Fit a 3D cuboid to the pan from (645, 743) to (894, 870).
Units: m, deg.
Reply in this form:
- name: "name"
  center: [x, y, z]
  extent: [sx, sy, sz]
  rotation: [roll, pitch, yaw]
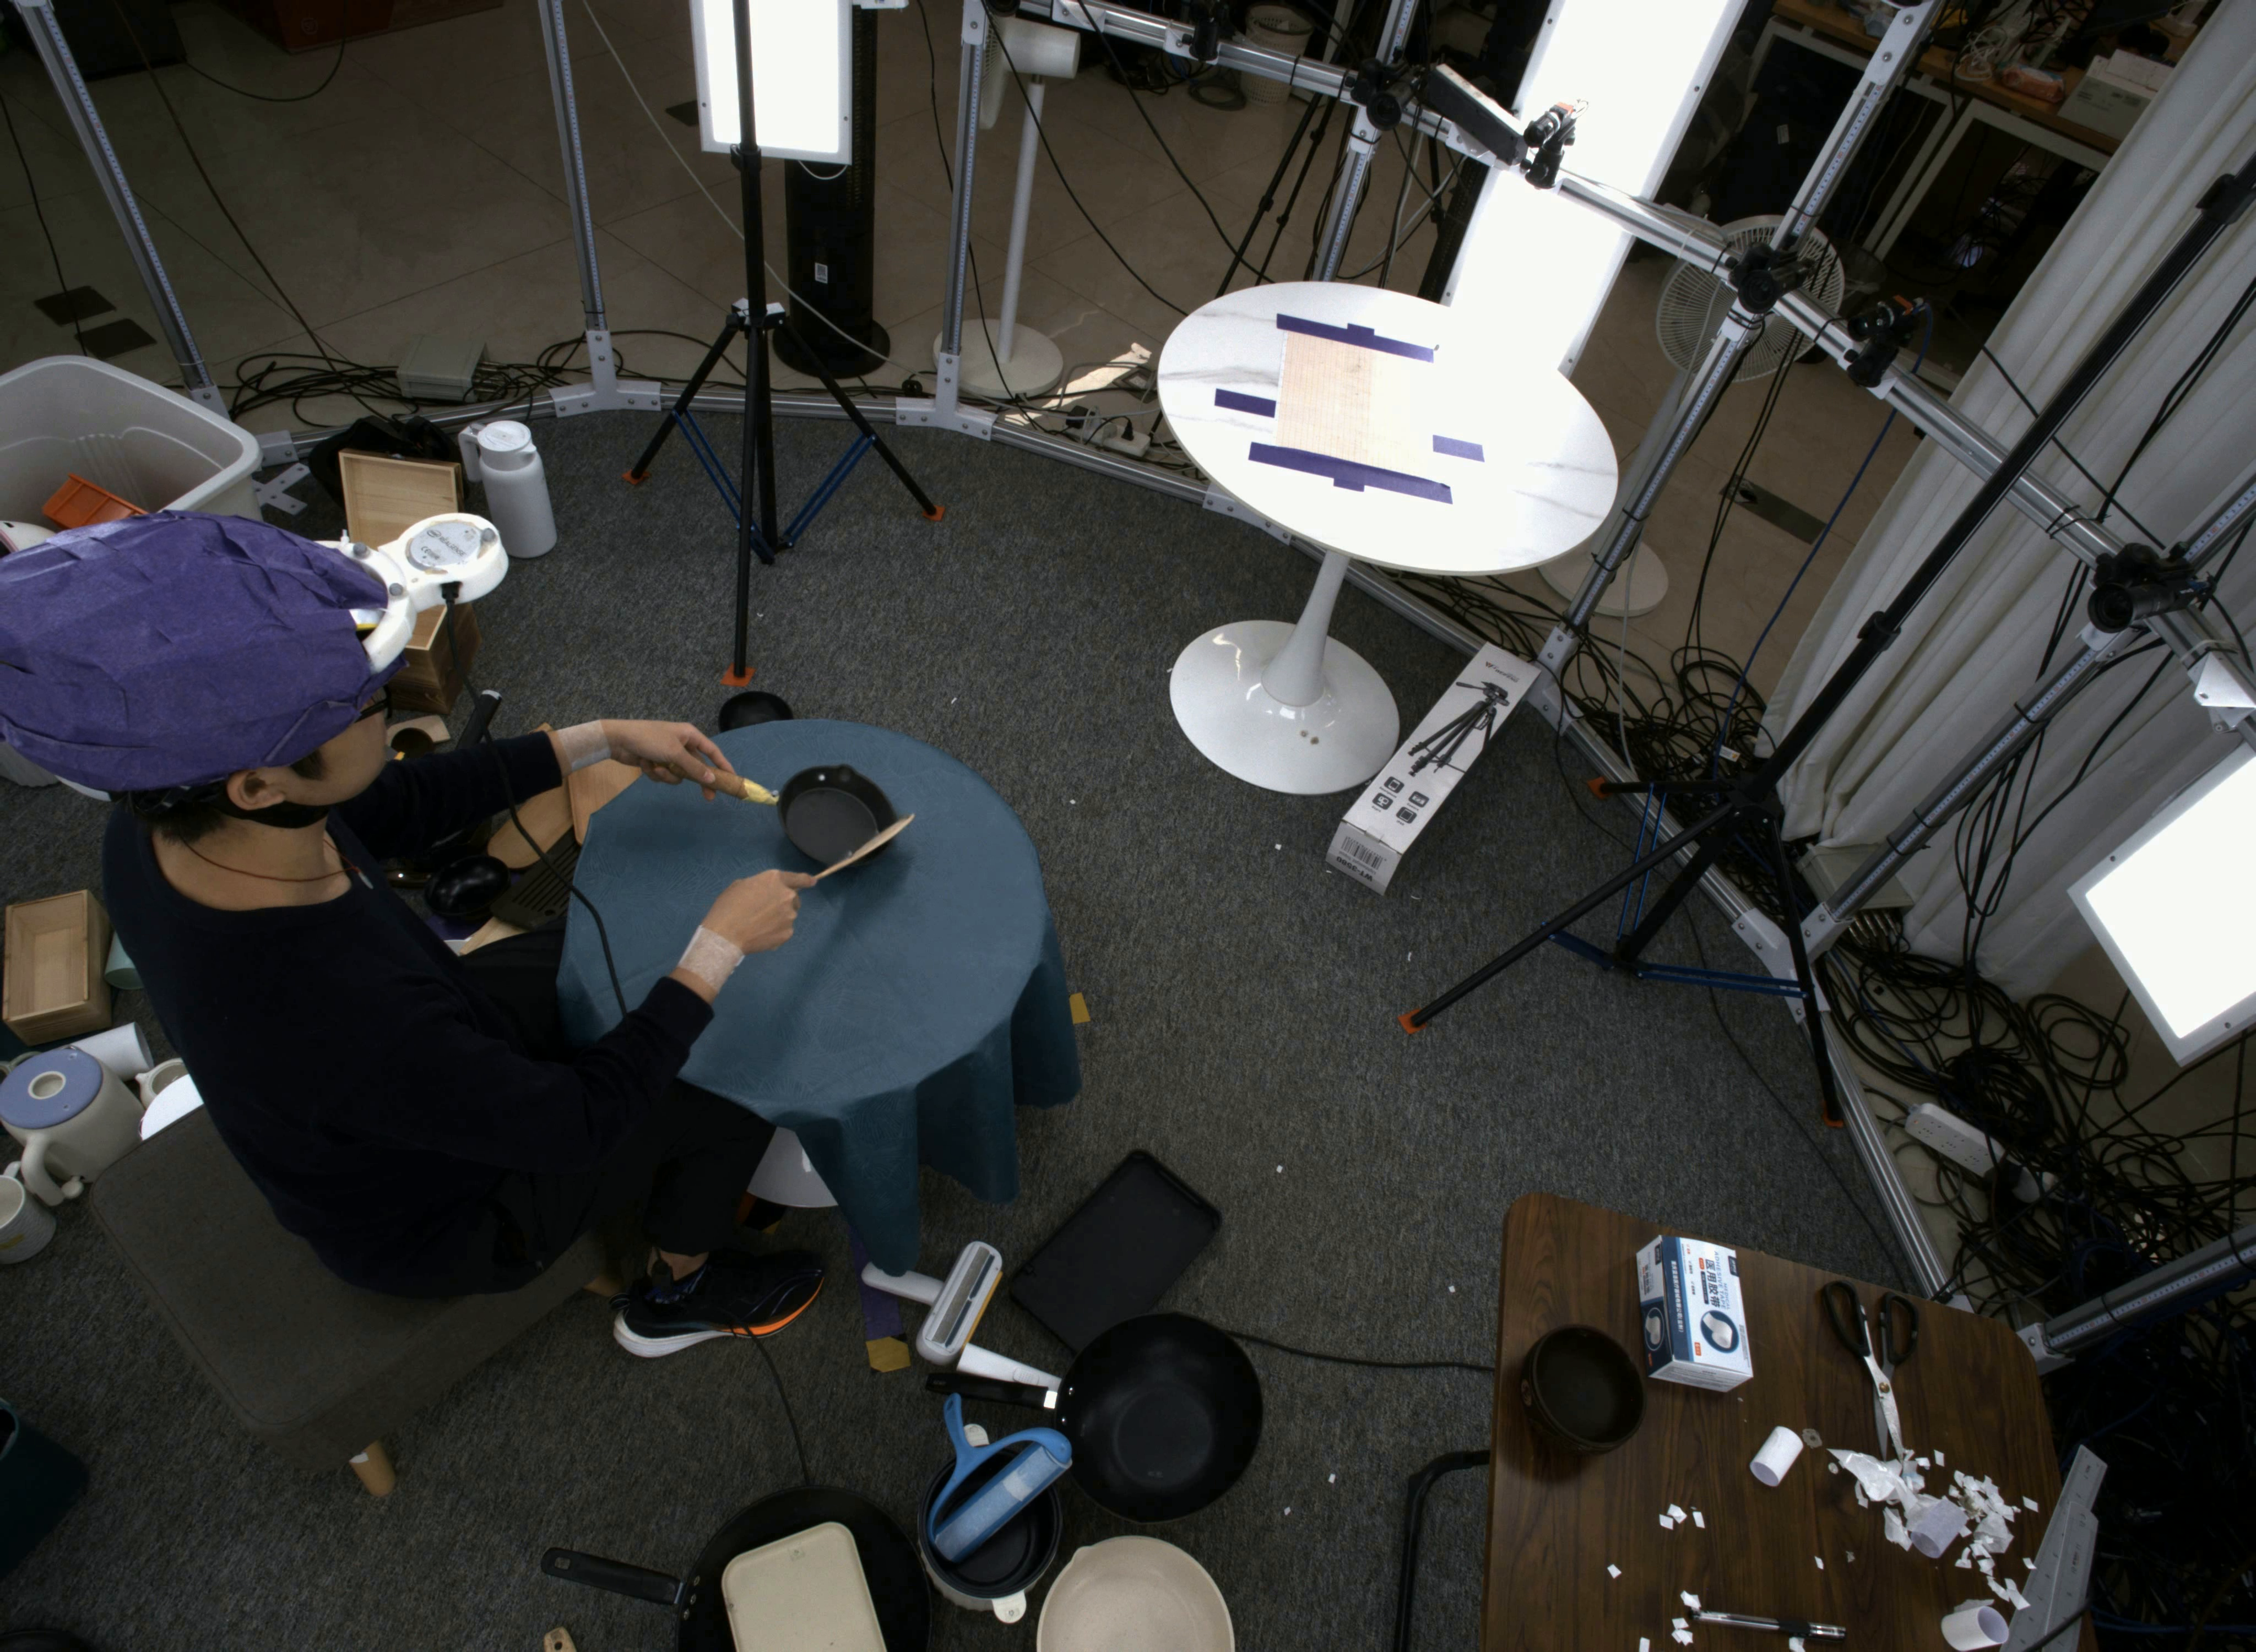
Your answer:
- name: "pan"
  center: [-0.456, -0.037, 1.652]
  extent: [0.329, 0.049, 0.166]
  rotation: [20, 51, -22]

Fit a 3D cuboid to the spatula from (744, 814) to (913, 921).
- name: "spatula"
  center: [-0.363, 0.049, 1.570]
  extent: [0.017, 0.079, 0.328]
  rotation: [59, 27, -3]
